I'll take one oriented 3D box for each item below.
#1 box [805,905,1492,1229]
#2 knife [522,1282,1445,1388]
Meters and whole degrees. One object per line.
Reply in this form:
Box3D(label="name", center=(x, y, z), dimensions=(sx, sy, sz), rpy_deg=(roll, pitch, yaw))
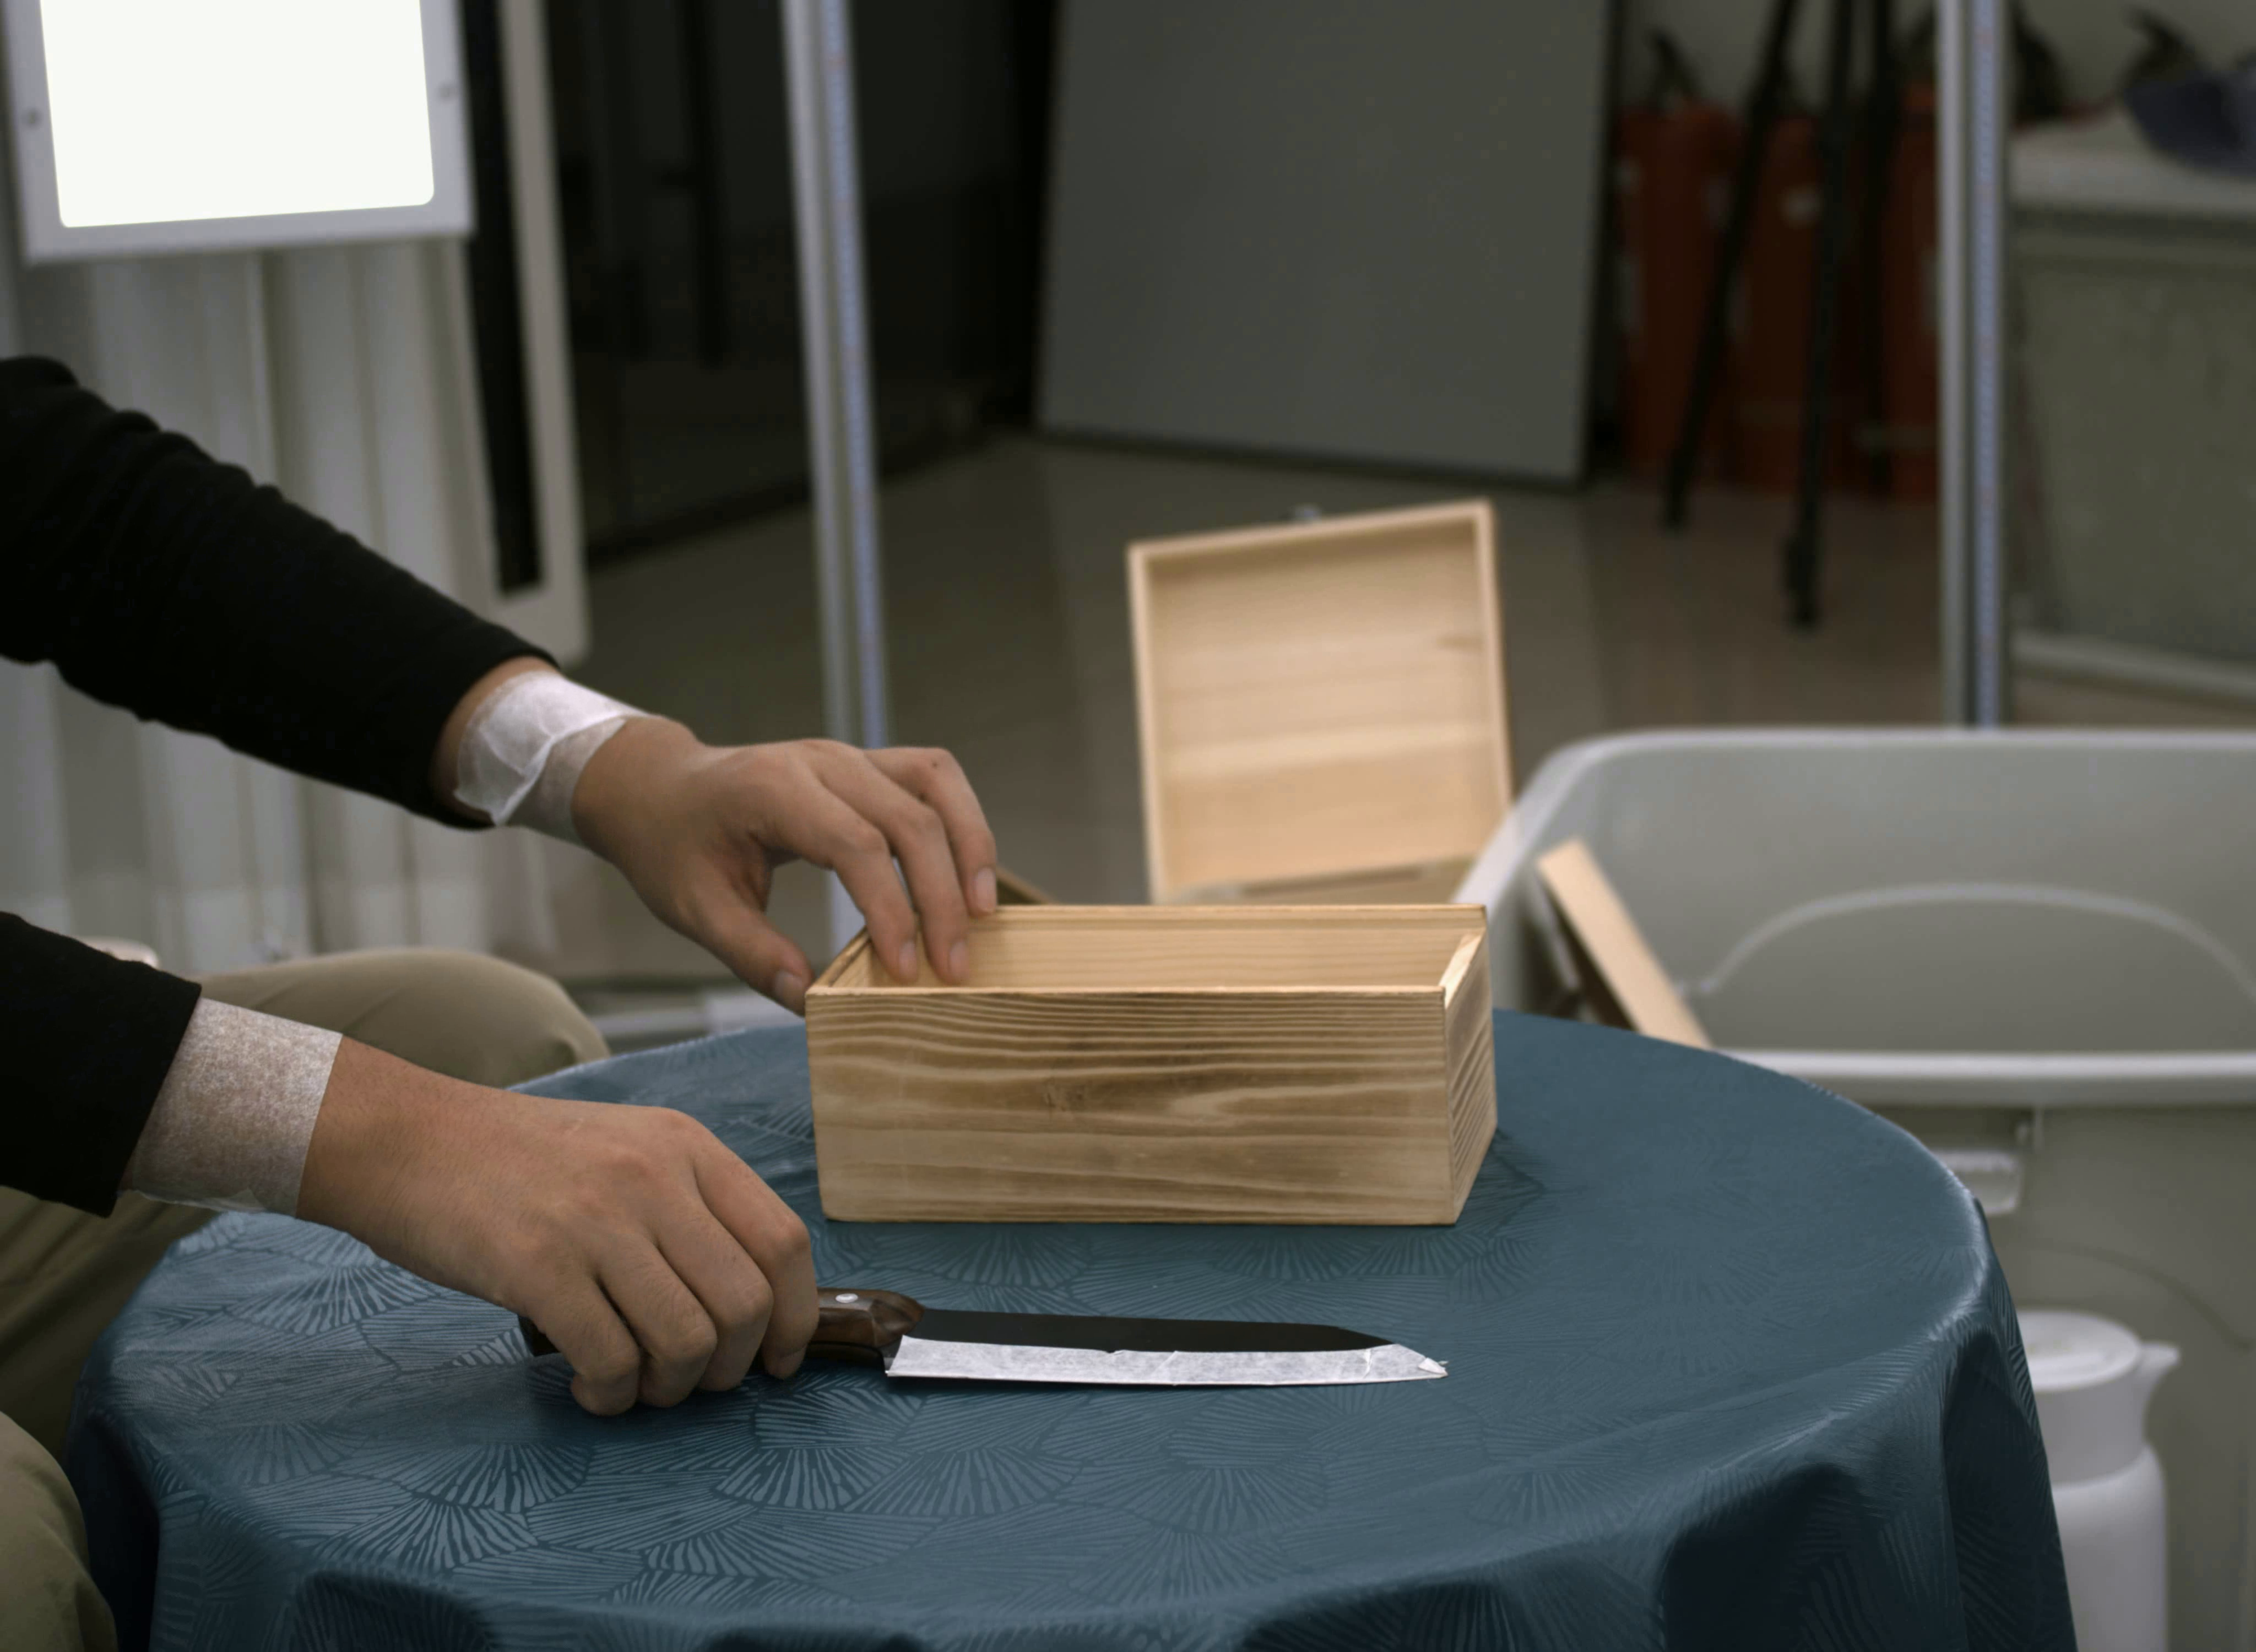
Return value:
Box3D(label="box", center=(0.009, 0.078, 1.776), dimensions=(0.210, 0.081, 0.107), rpy_deg=(0, 13, 13))
Box3D(label="knife", center=(-0.046, 0.155, 1.615), dimensions=(0.287, 0.020, 0.050), rpy_deg=(2, 22, 13))
